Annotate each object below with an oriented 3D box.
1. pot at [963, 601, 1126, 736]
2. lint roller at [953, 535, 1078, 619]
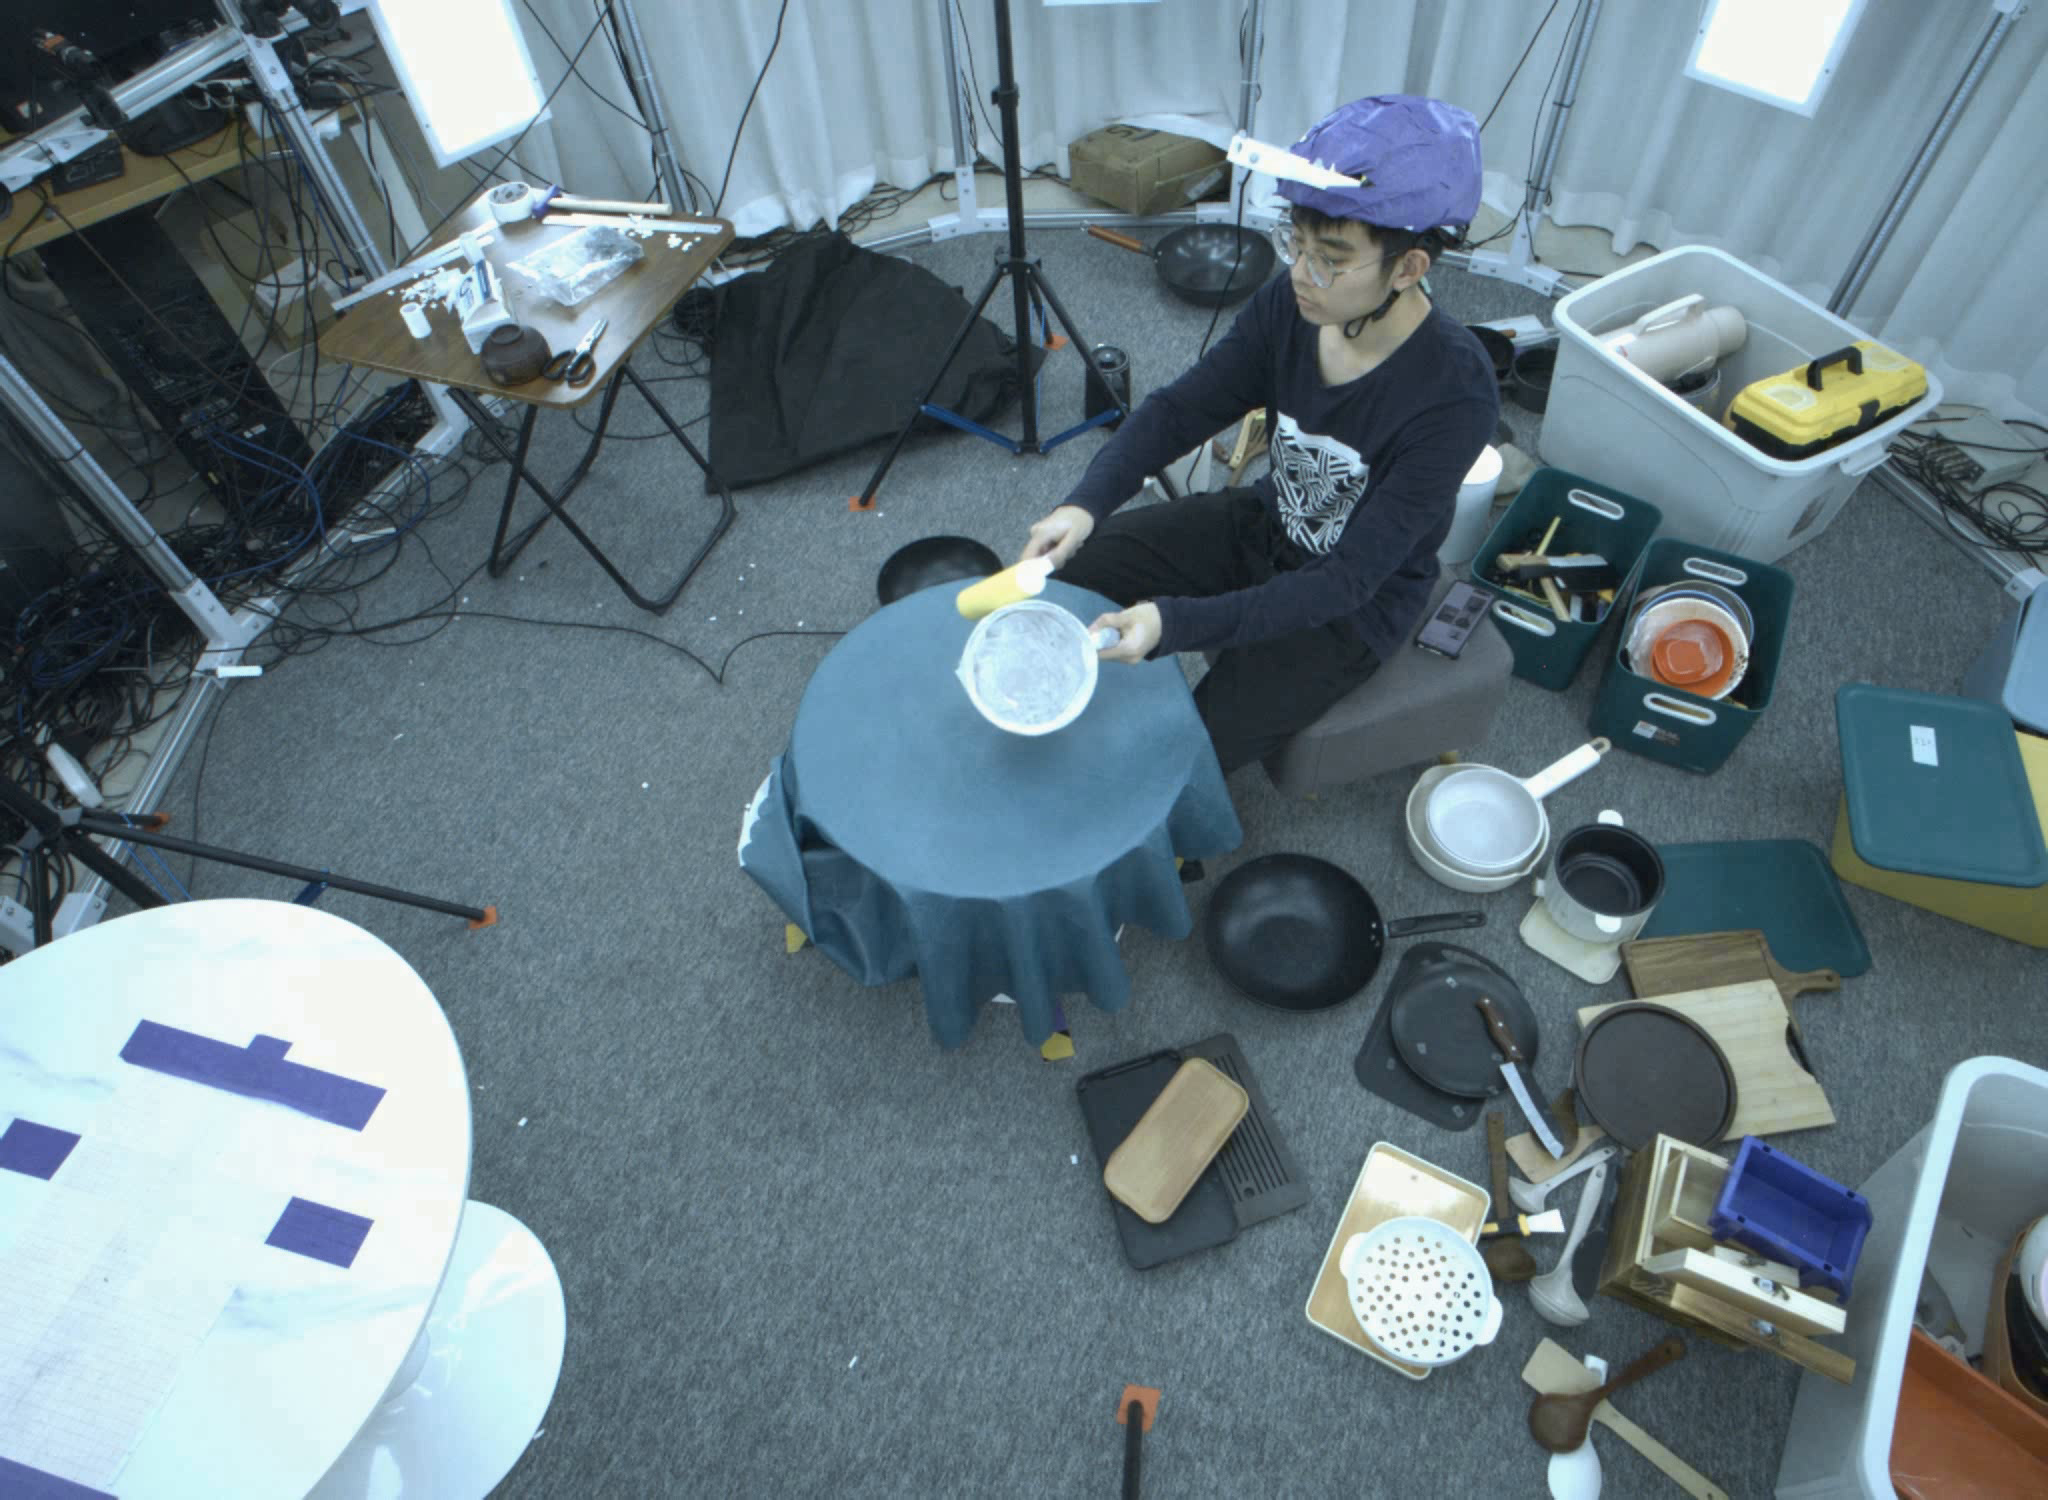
[{"bbox_3d":[0.031,-0.124,1.676,0.234,0.136,0.179,-23,98,-2],"label":"pot"},{"bbox_3d":[0.006,-0.263,1.729,0.052,0.171,0.193,53,57,-18],"label":"lint roller"}]
